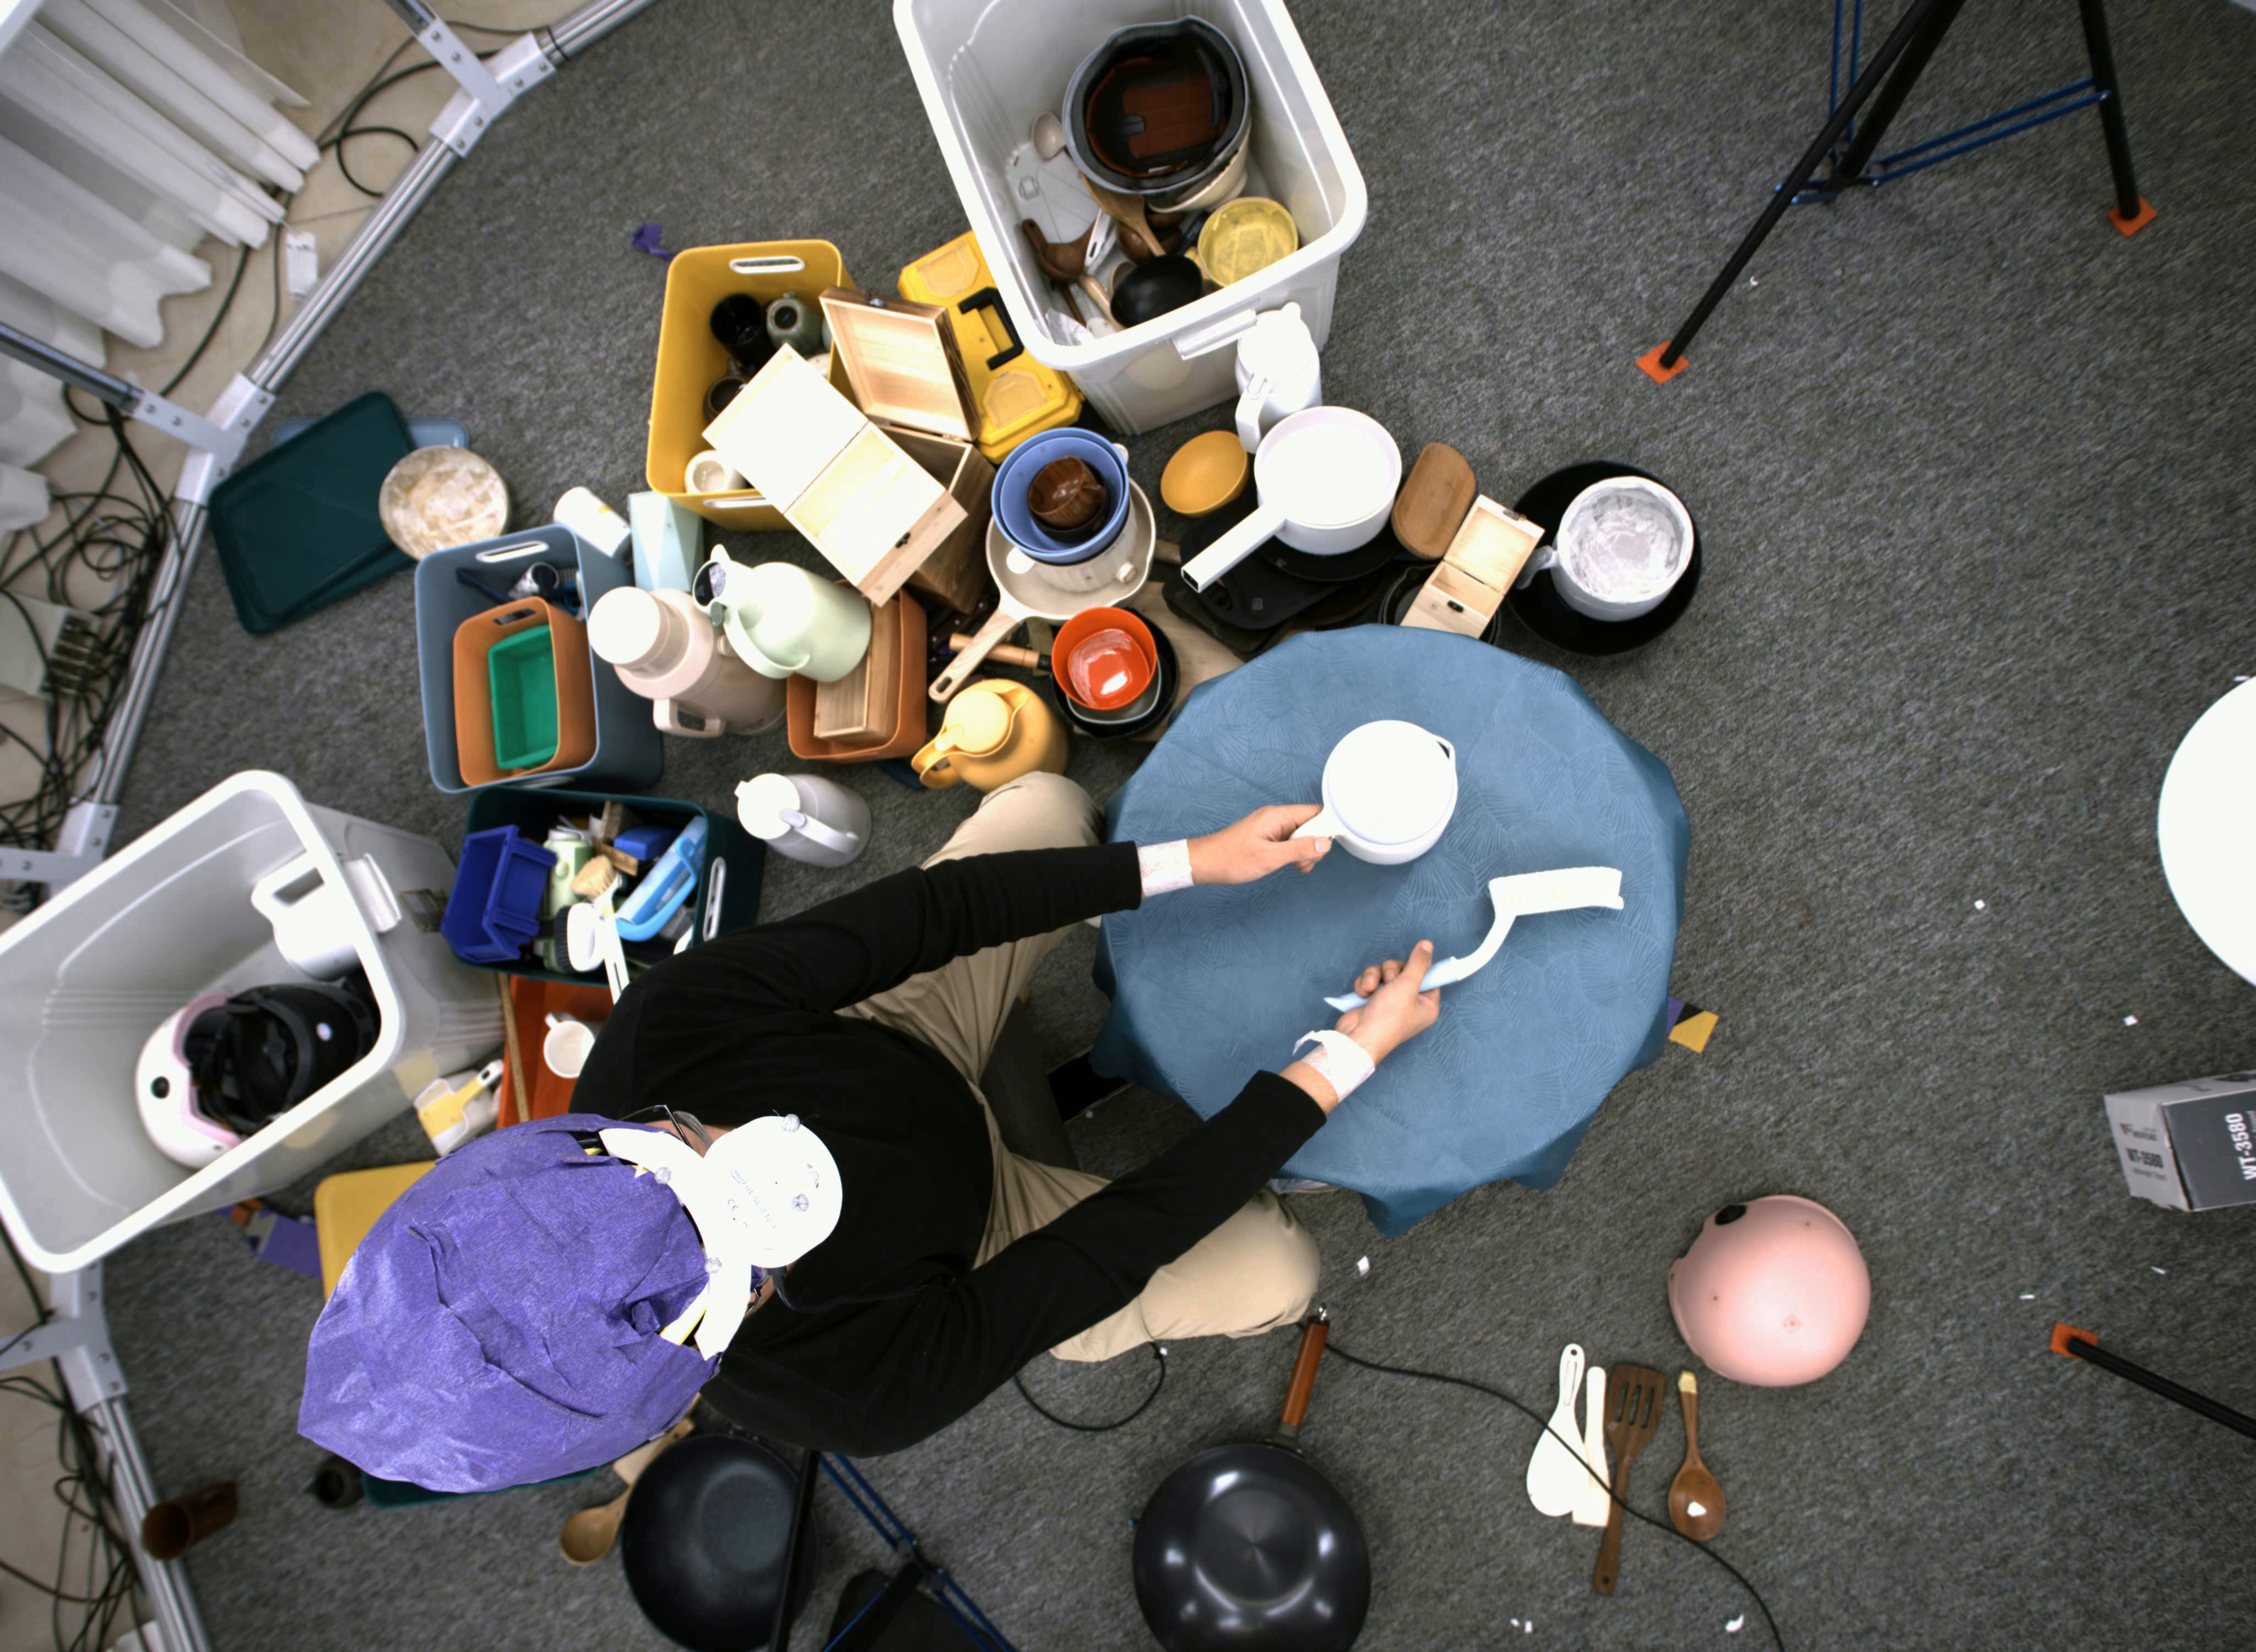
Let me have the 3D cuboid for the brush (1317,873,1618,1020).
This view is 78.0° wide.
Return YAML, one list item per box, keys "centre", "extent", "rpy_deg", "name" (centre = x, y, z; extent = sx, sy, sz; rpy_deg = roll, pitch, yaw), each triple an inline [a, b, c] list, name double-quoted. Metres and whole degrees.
- centre: [0.336, 0.099, 1.394]
  extent: [0.326, 0.085, 0.082]
  rpy_deg: [-20, 48, 3]
  name: "brush"

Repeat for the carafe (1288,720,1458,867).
- centre: [0.240, -0.020, 1.384]
  extent: [0.192, 0.182, 0.131]
  rpy_deg: [-33, 80, 7]
  name: "carafe"
